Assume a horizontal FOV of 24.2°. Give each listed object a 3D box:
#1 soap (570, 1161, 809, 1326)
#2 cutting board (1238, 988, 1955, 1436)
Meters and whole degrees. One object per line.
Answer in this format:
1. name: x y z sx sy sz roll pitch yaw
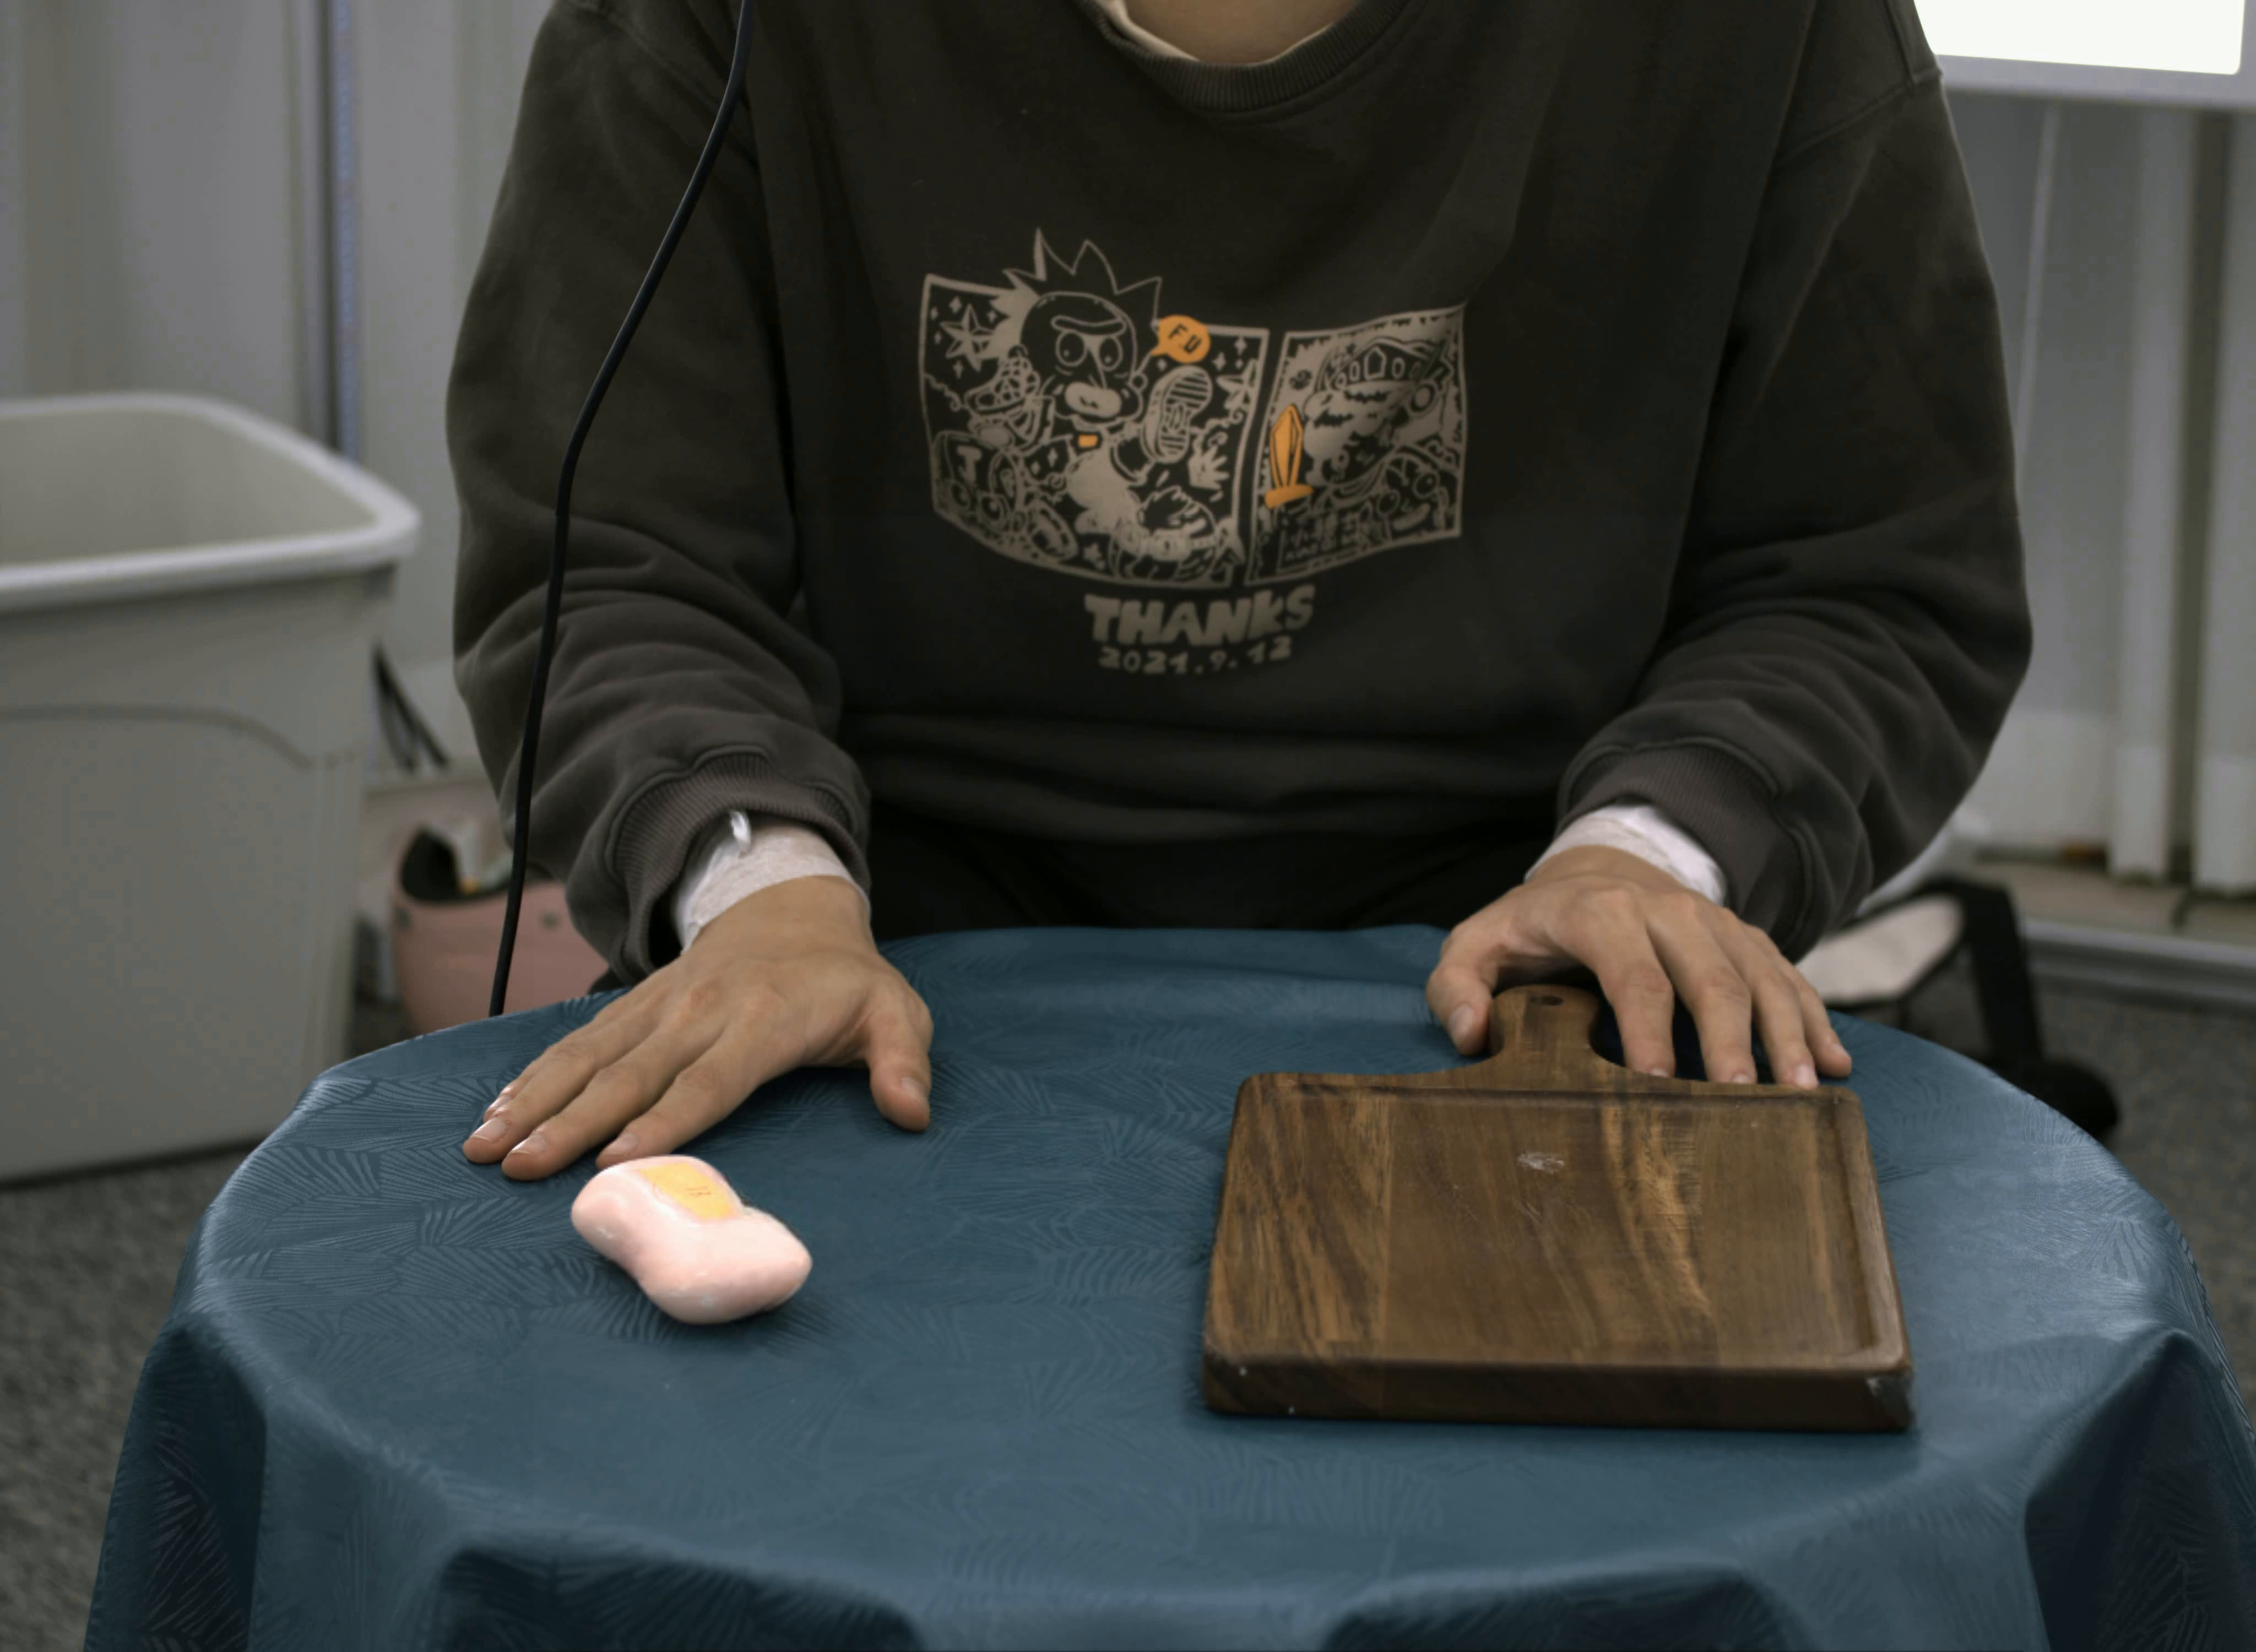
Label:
1. soap: -0.129 0.122 1.541 0.050 0.030 0.093 -6 15 -24
2. cutting board: 0.140 0.110 1.605 0.200 0.023 0.351 2 15 4
